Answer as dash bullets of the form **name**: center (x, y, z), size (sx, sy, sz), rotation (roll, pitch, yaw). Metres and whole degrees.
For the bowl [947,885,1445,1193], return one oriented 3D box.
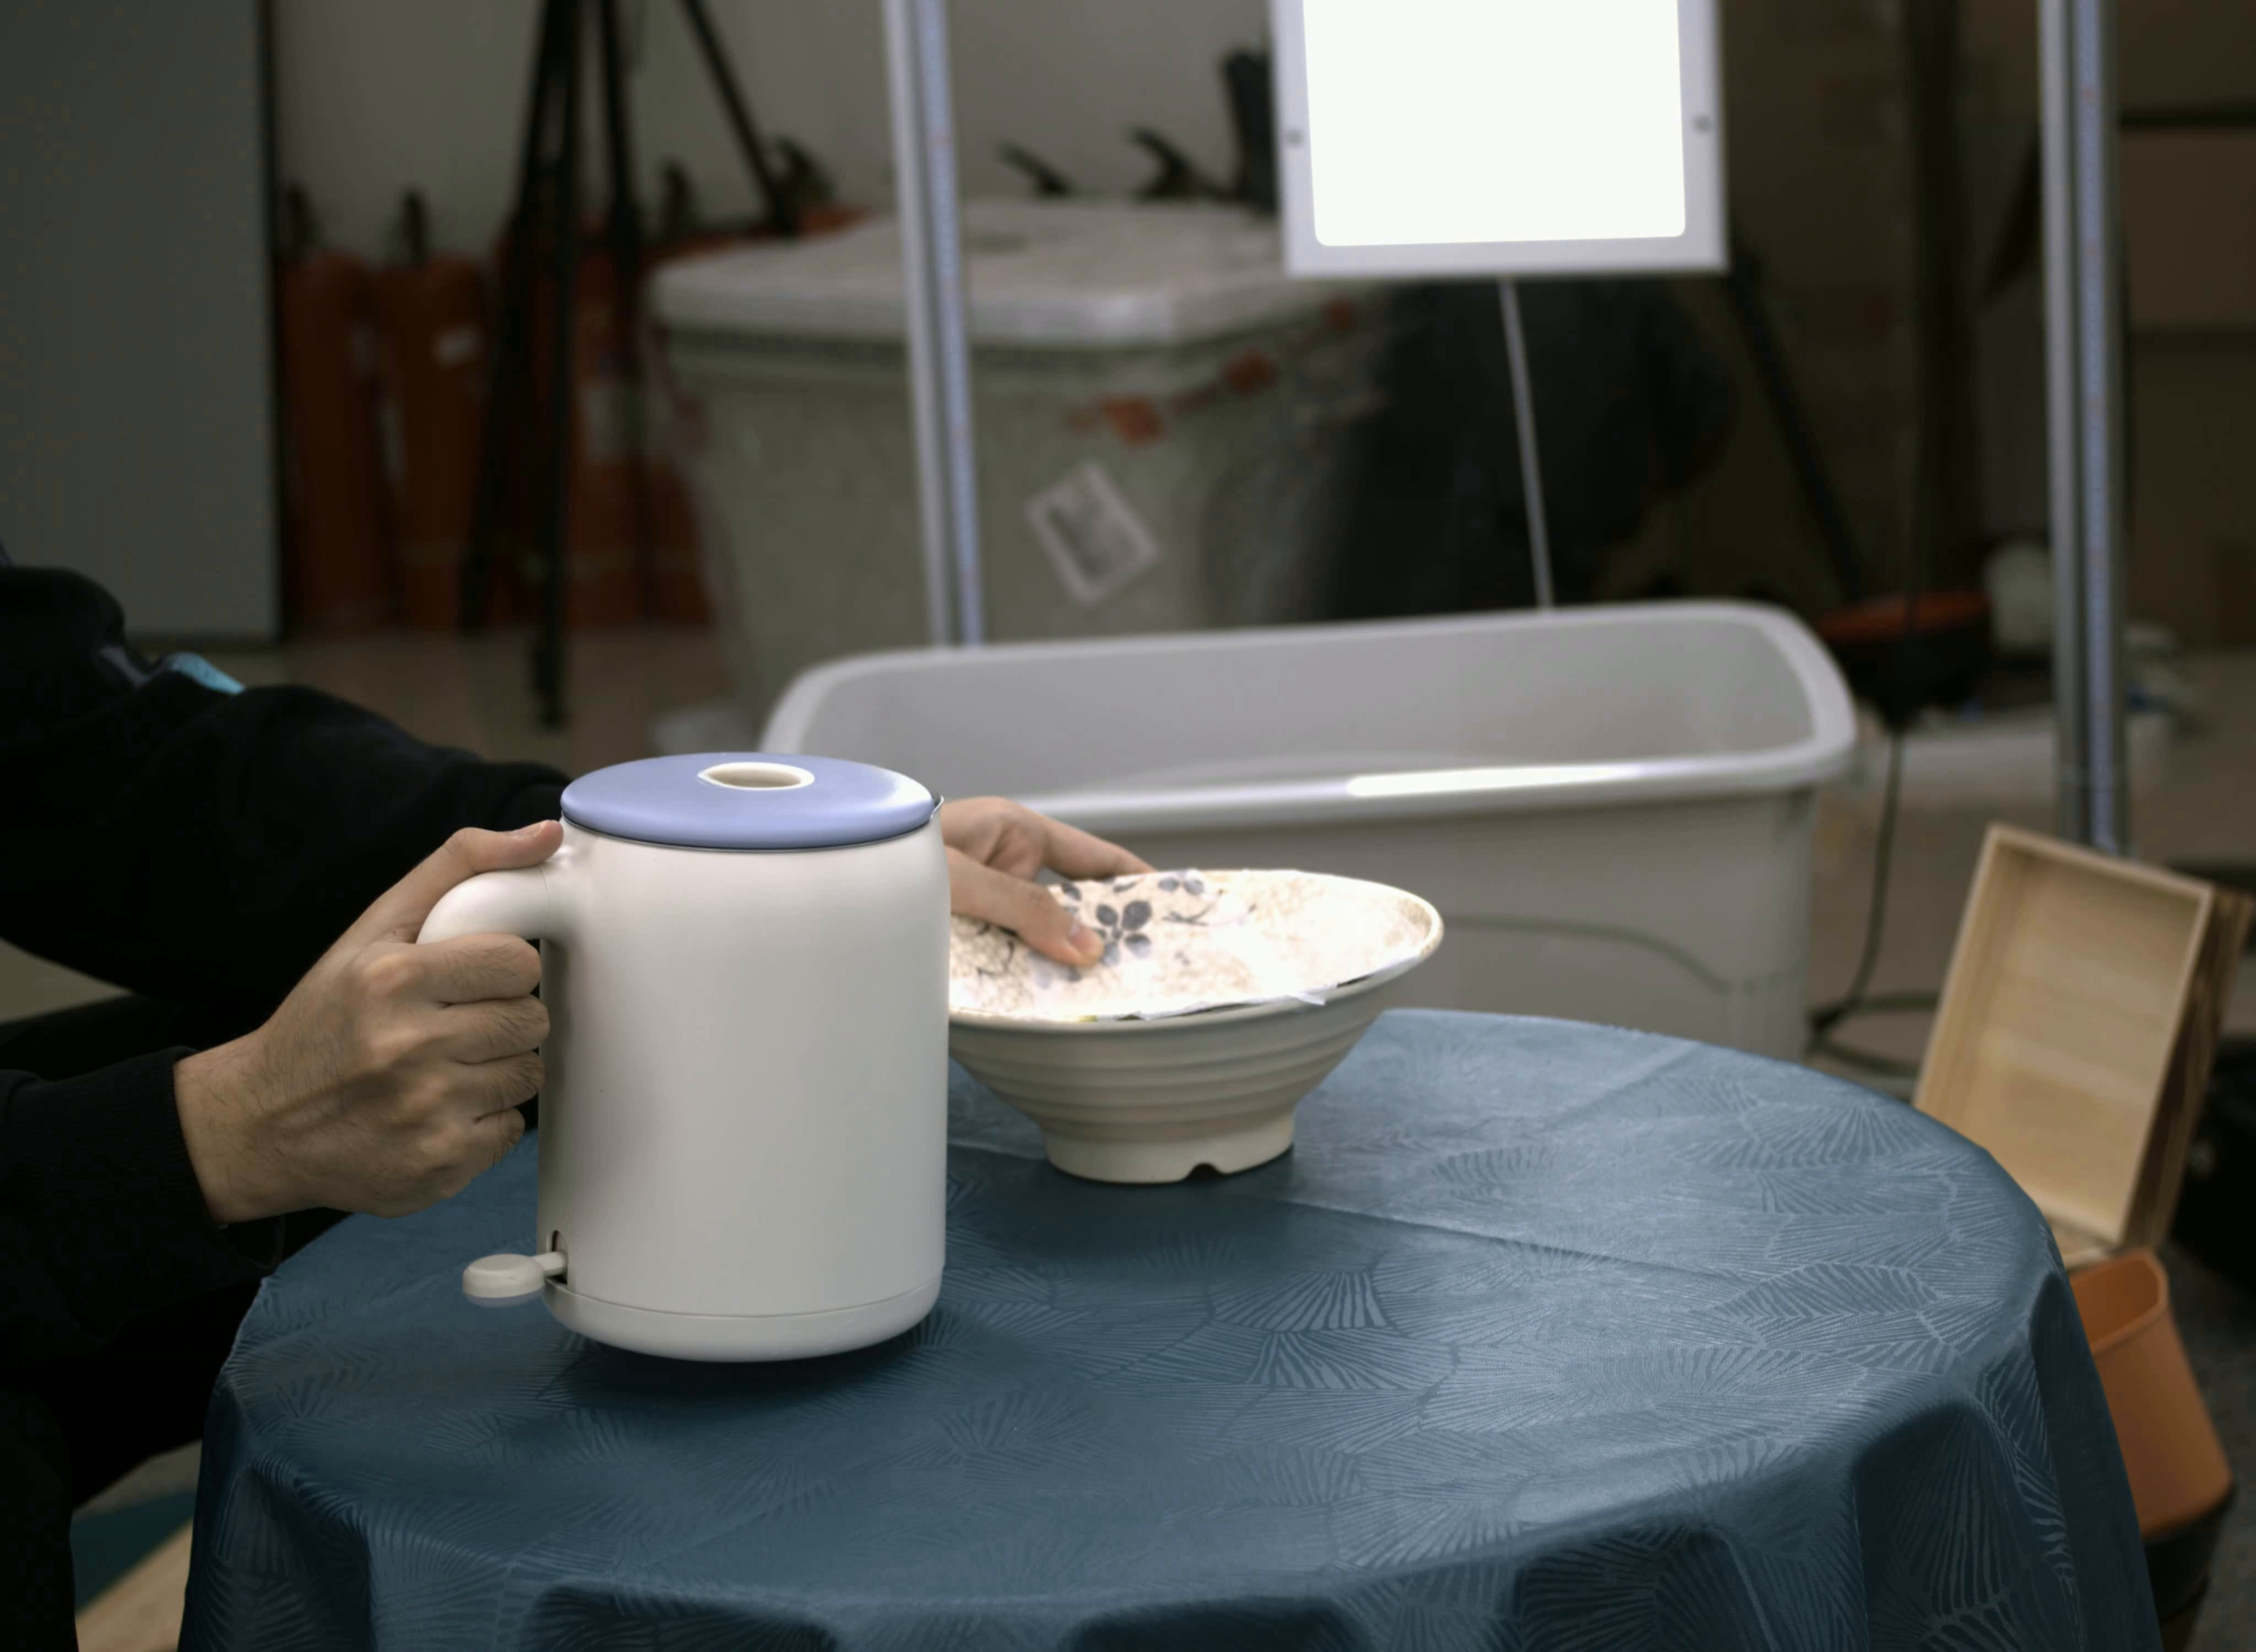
- **bowl**: center (0.015, 0.080, 1.927), size (0.203, 0.078, 0.204), rotation (-8, 10, 0)

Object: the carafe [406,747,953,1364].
- **carafe**: center (-0.142, 0.075, 1.743), size (0.187, 0.183, 0.134), rotation (-9, 14, -29)
